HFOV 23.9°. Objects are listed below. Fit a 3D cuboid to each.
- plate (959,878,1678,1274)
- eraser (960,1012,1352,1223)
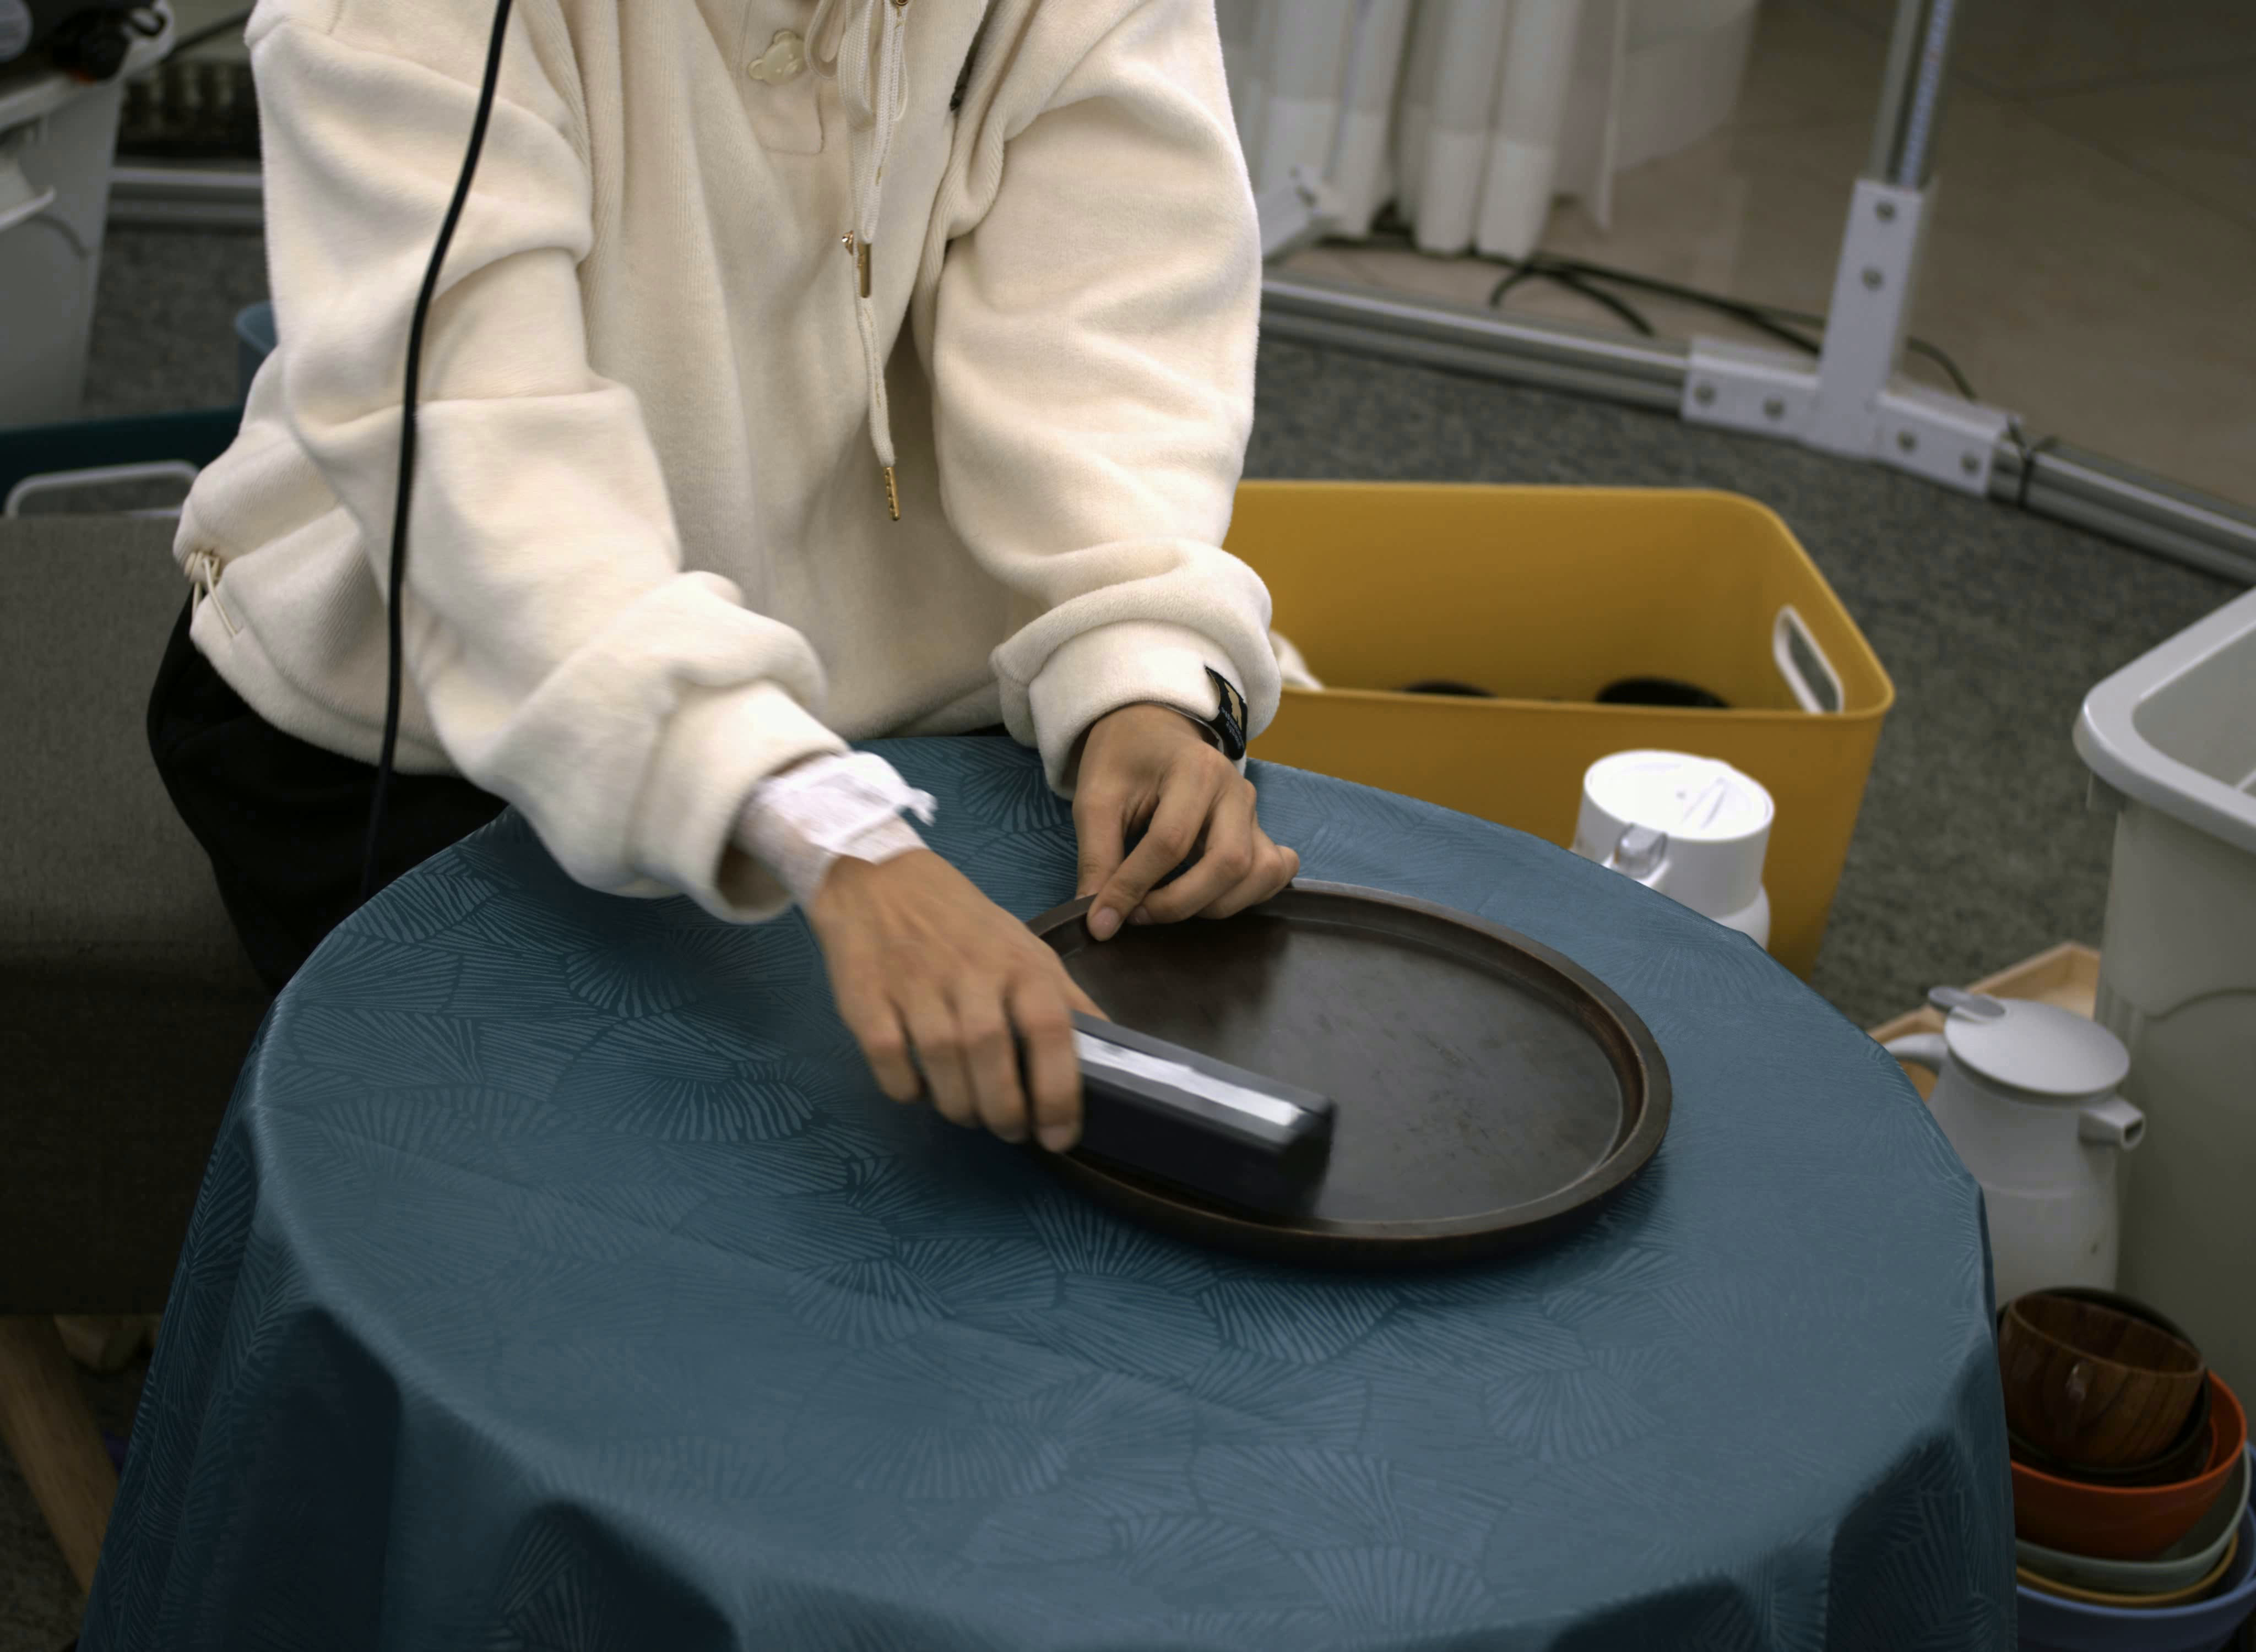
[{"bbox_3d":[0.066,0.085,1.865,0.254,0.029,0.256,5,28,-3],"label":"plate"},{"bbox_3d":[0.009,0.097,1.784,0.126,0.030,0.053,17,20,21],"label":"eraser"}]
